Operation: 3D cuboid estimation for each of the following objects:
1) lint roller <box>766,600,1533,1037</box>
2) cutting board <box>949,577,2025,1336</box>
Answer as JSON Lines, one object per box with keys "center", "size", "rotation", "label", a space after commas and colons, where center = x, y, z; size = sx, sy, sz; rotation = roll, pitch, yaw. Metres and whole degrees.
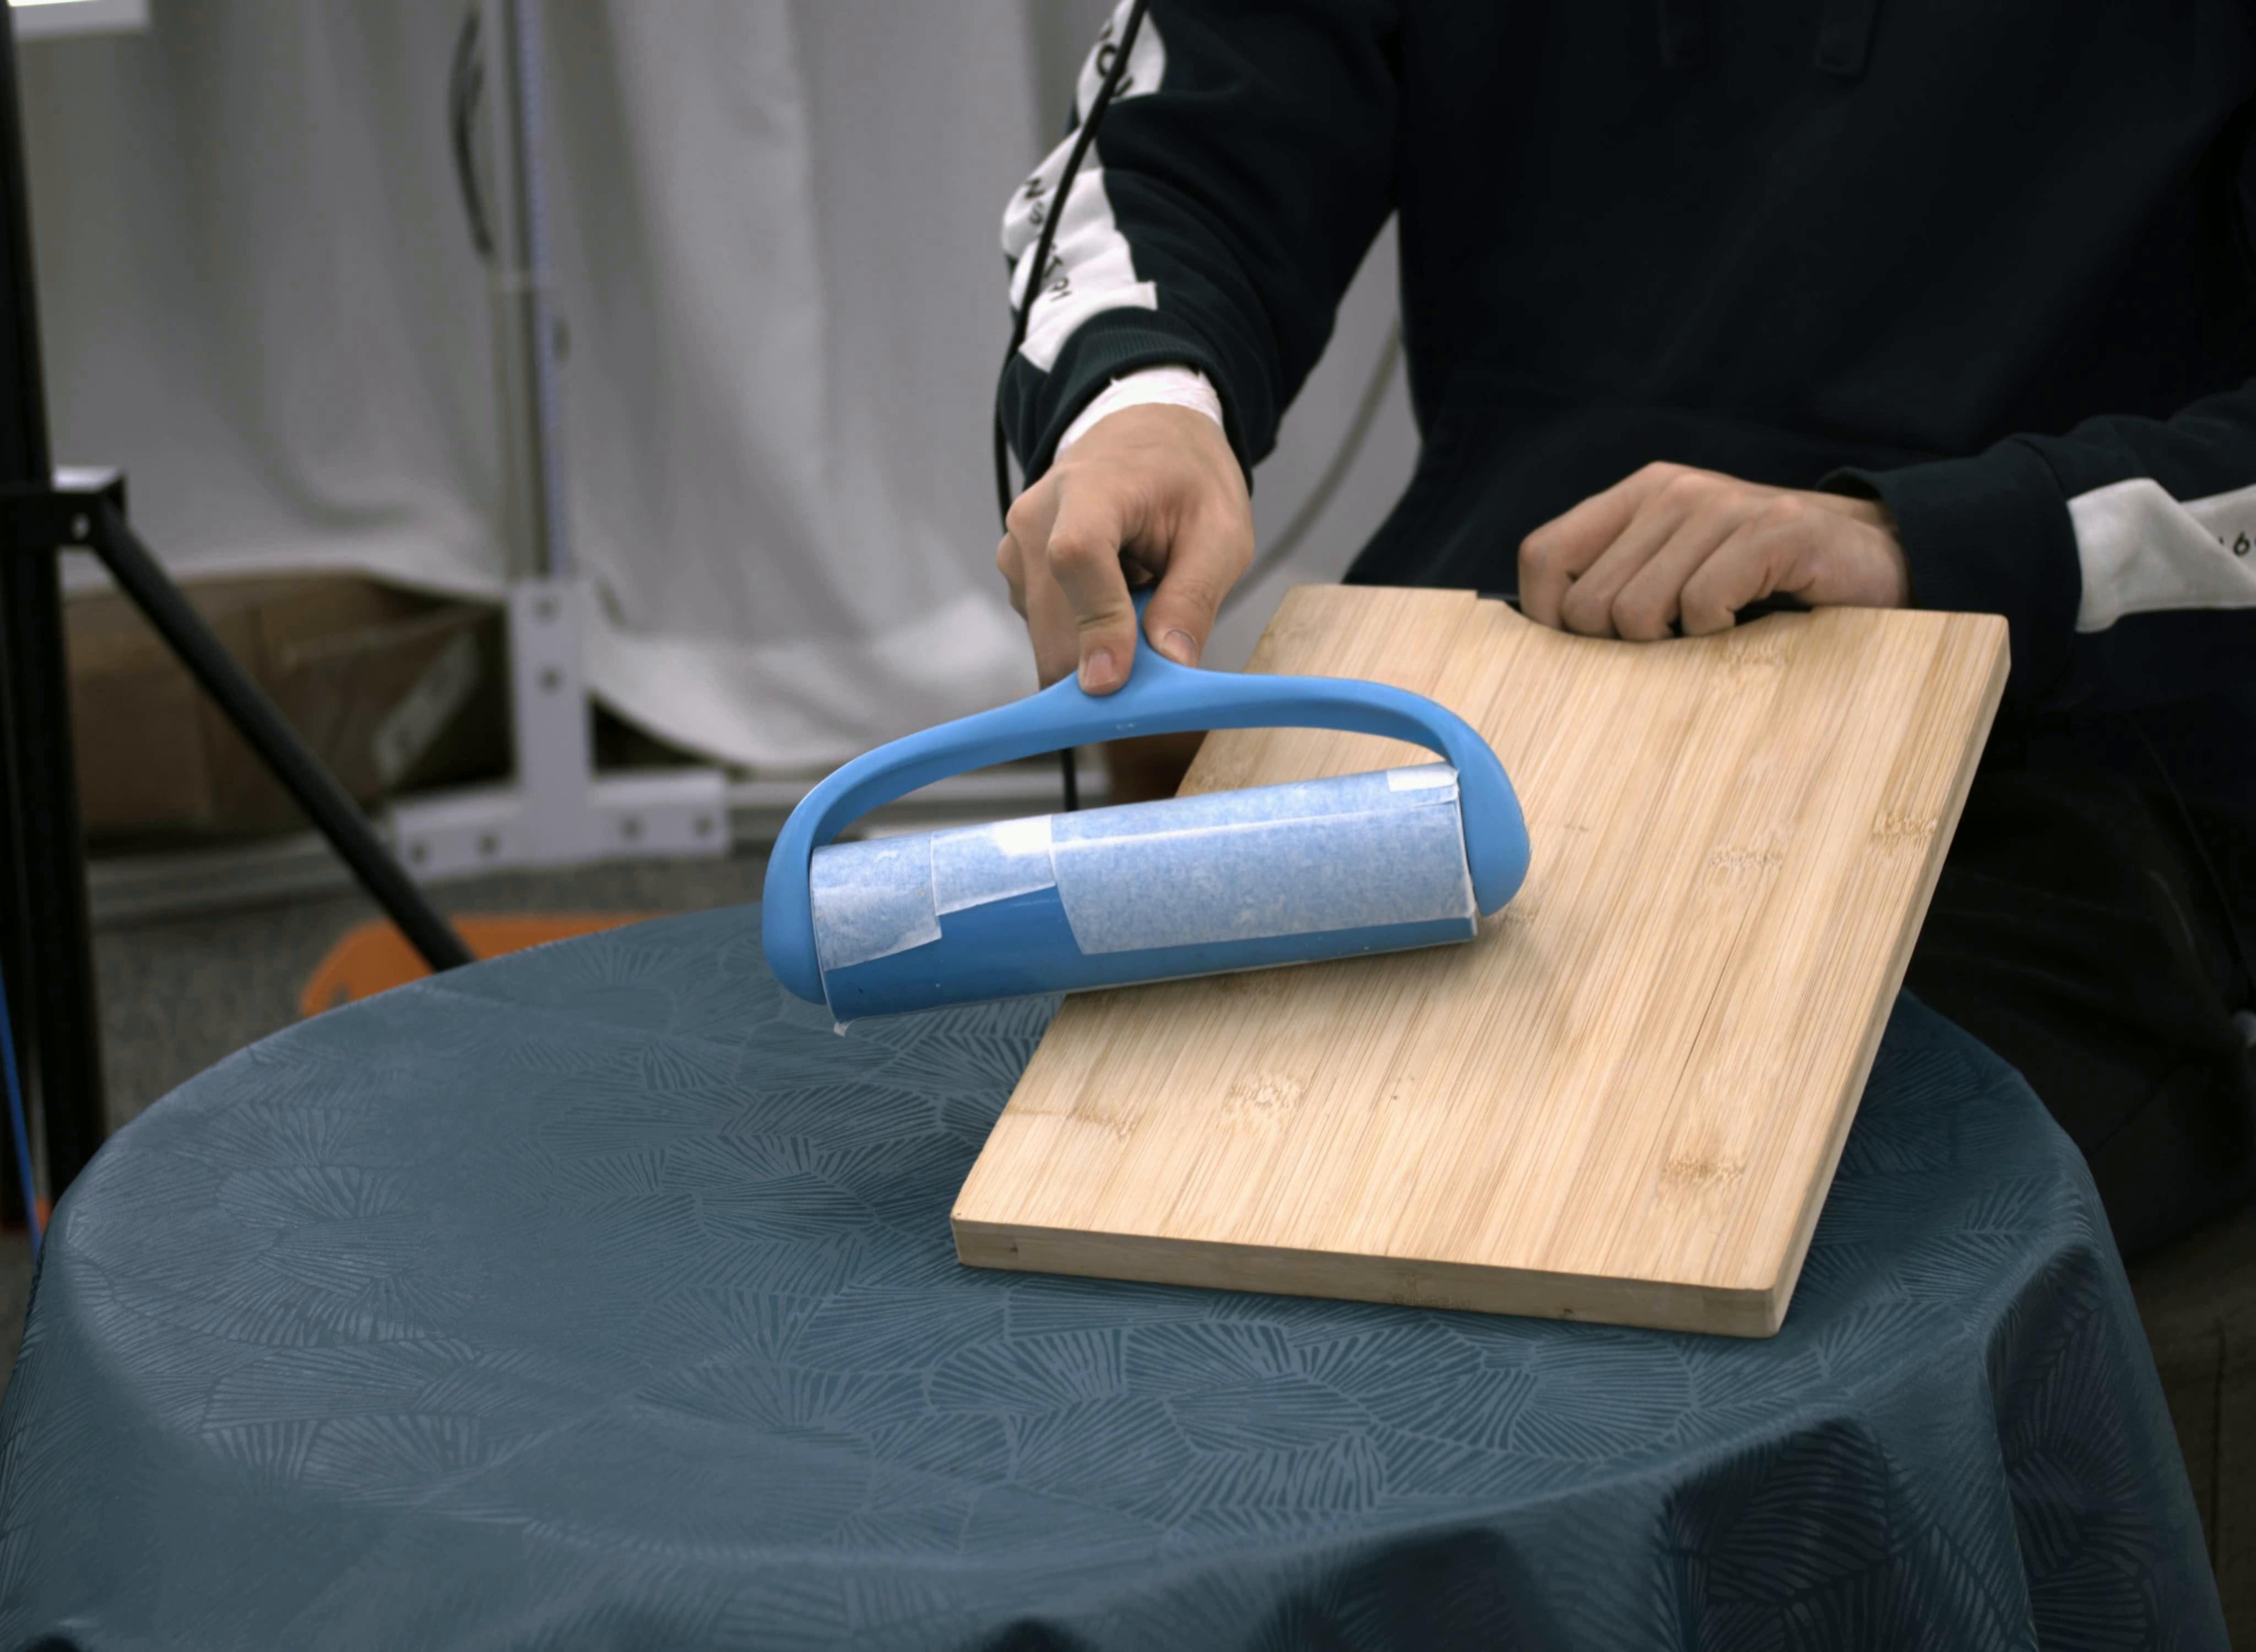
{"center": [0.000, -0.021, 1.609], "size": [0.229, 0.067, 0.182], "rotation": [-11, 45, 5], "label": "lint roller"}
{"center": [0.116, 0.029, 1.589], "size": [0.253, 0.023, 0.347], "rotation": [2, 35, 20], "label": "cutting board"}
